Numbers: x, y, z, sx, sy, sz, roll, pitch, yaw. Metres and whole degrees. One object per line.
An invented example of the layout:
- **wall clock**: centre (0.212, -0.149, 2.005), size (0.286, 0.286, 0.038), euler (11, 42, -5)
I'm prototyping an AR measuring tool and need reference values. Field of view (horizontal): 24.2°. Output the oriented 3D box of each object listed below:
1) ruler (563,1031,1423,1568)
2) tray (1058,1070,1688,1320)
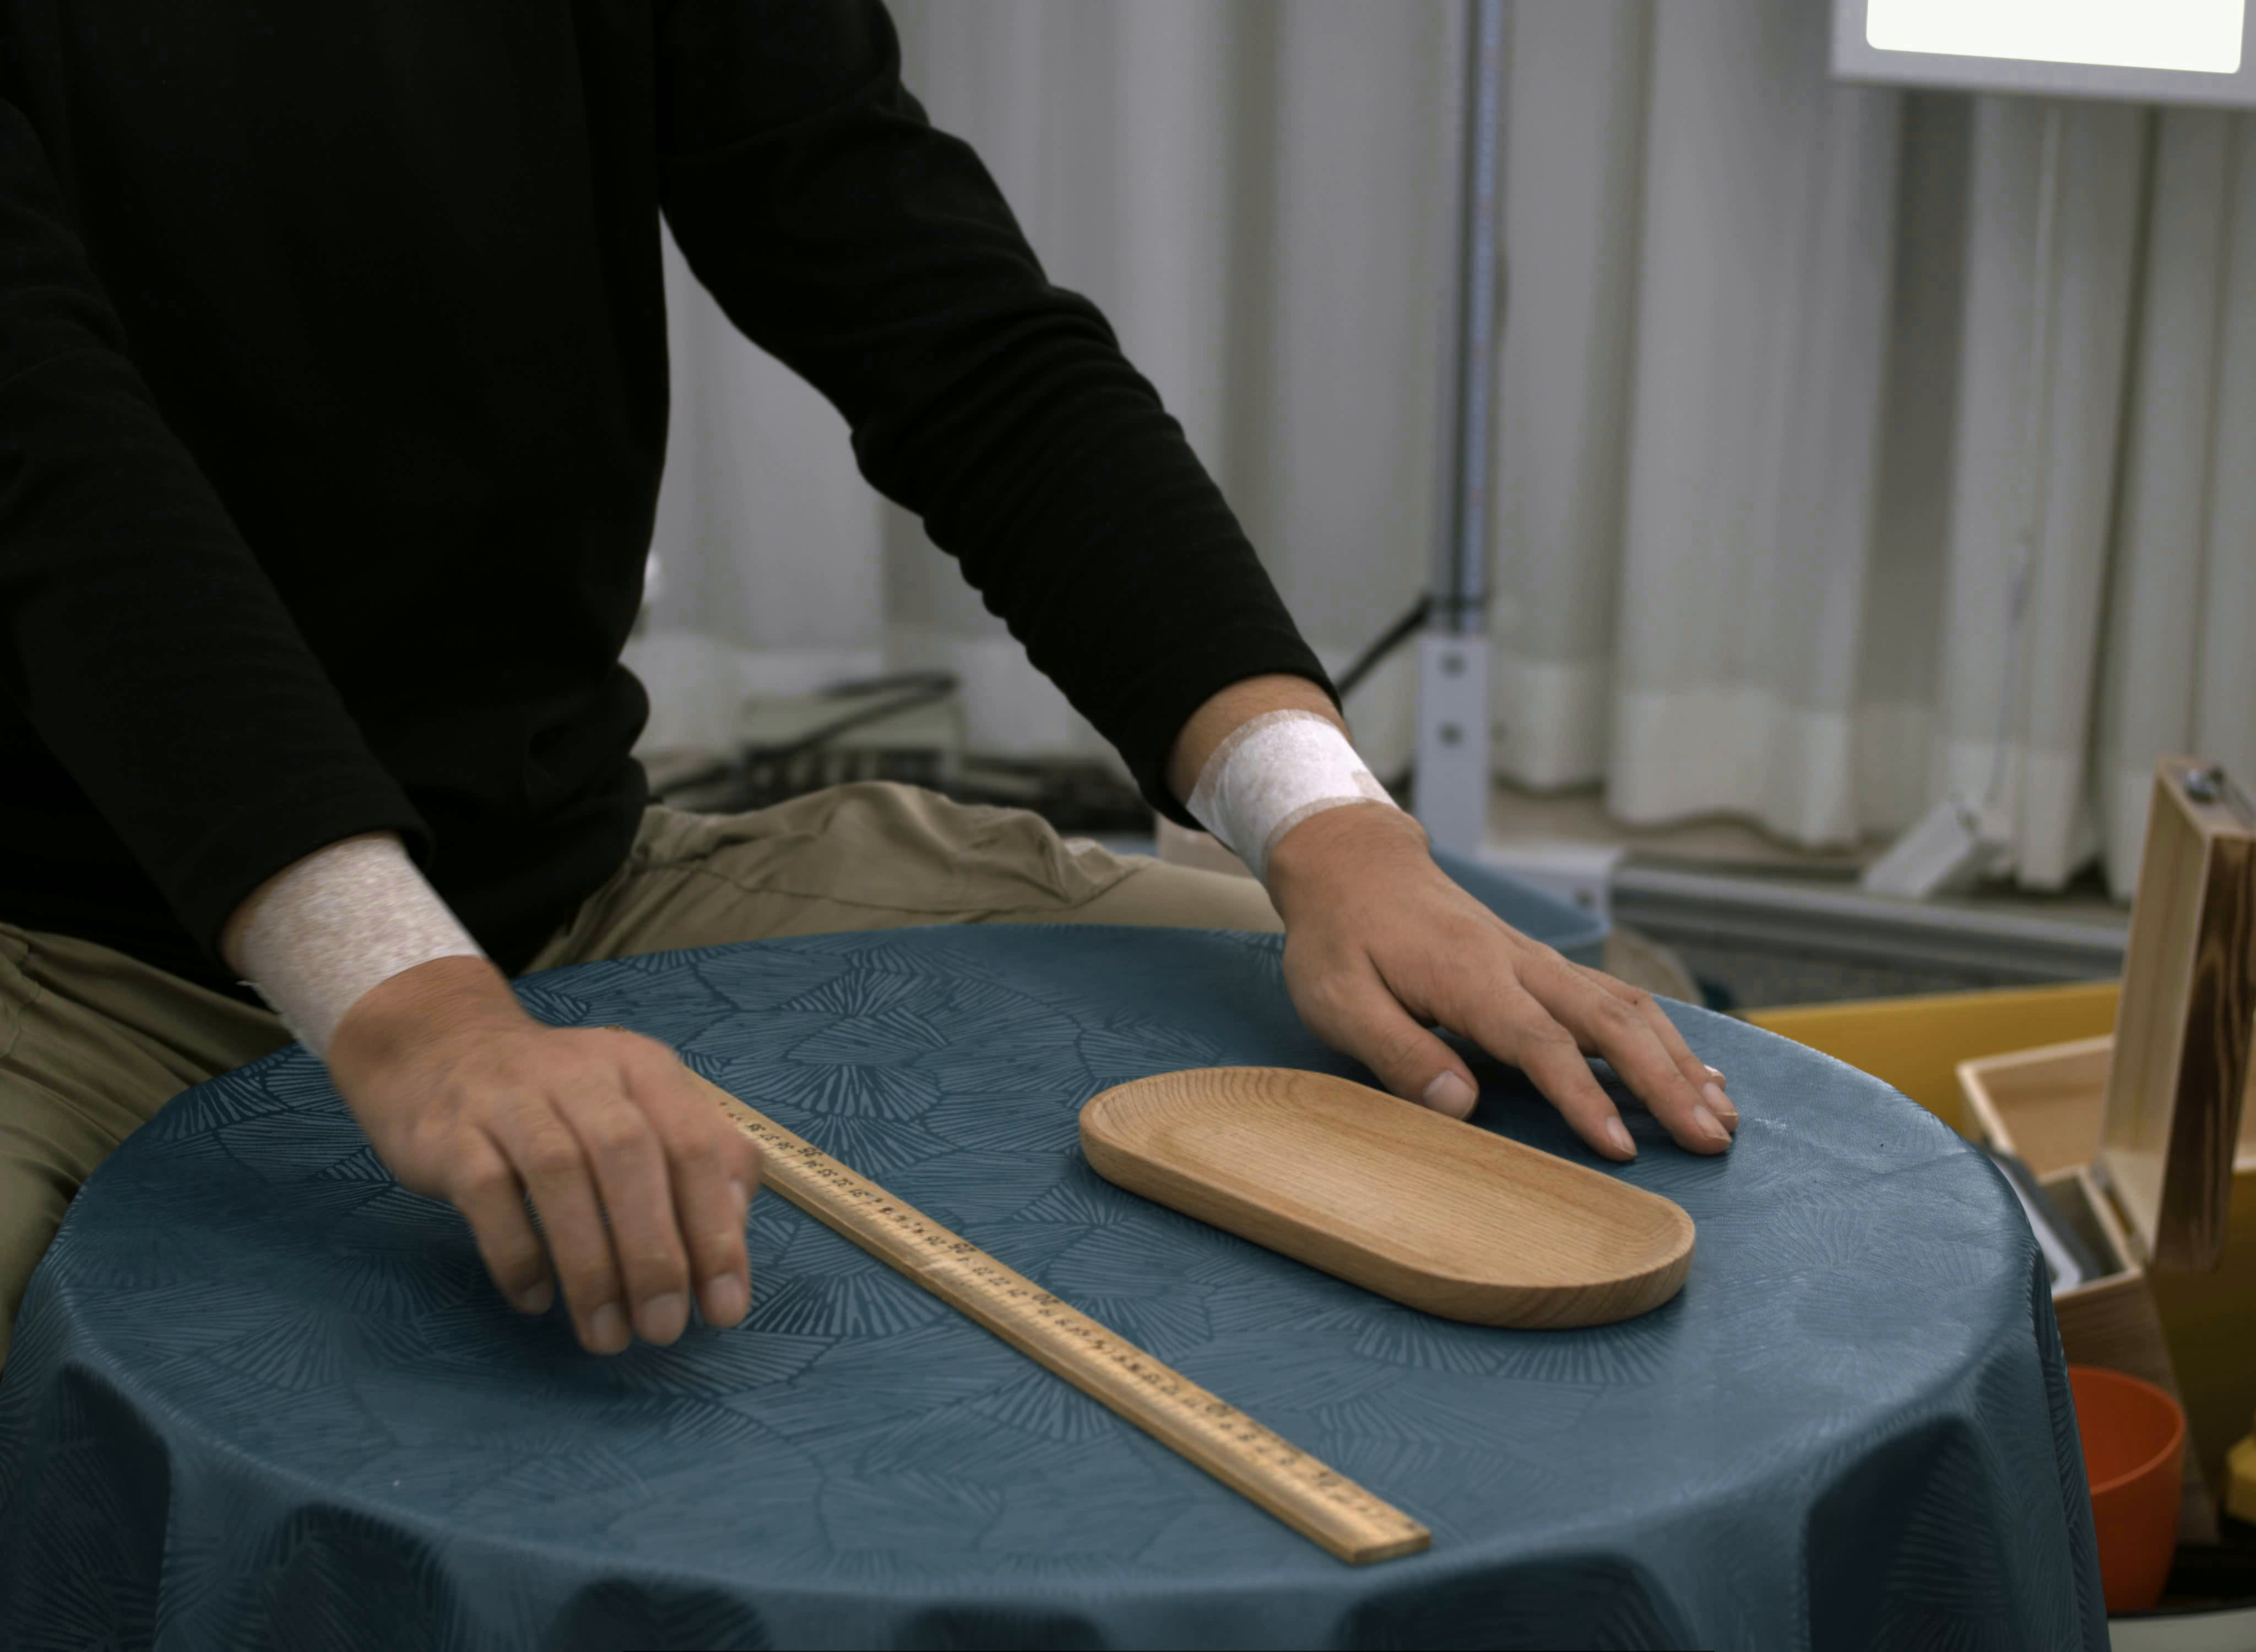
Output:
- **ruler**: centre (-0.055, 0.128, 1.552), size (0.027, 0.006, 0.494), euler (-7, 17, -29)
- **tray**: centre (0.072, 0.110, 1.599), size (0.102, 0.020, 0.228), euler (-11, 17, -40)
